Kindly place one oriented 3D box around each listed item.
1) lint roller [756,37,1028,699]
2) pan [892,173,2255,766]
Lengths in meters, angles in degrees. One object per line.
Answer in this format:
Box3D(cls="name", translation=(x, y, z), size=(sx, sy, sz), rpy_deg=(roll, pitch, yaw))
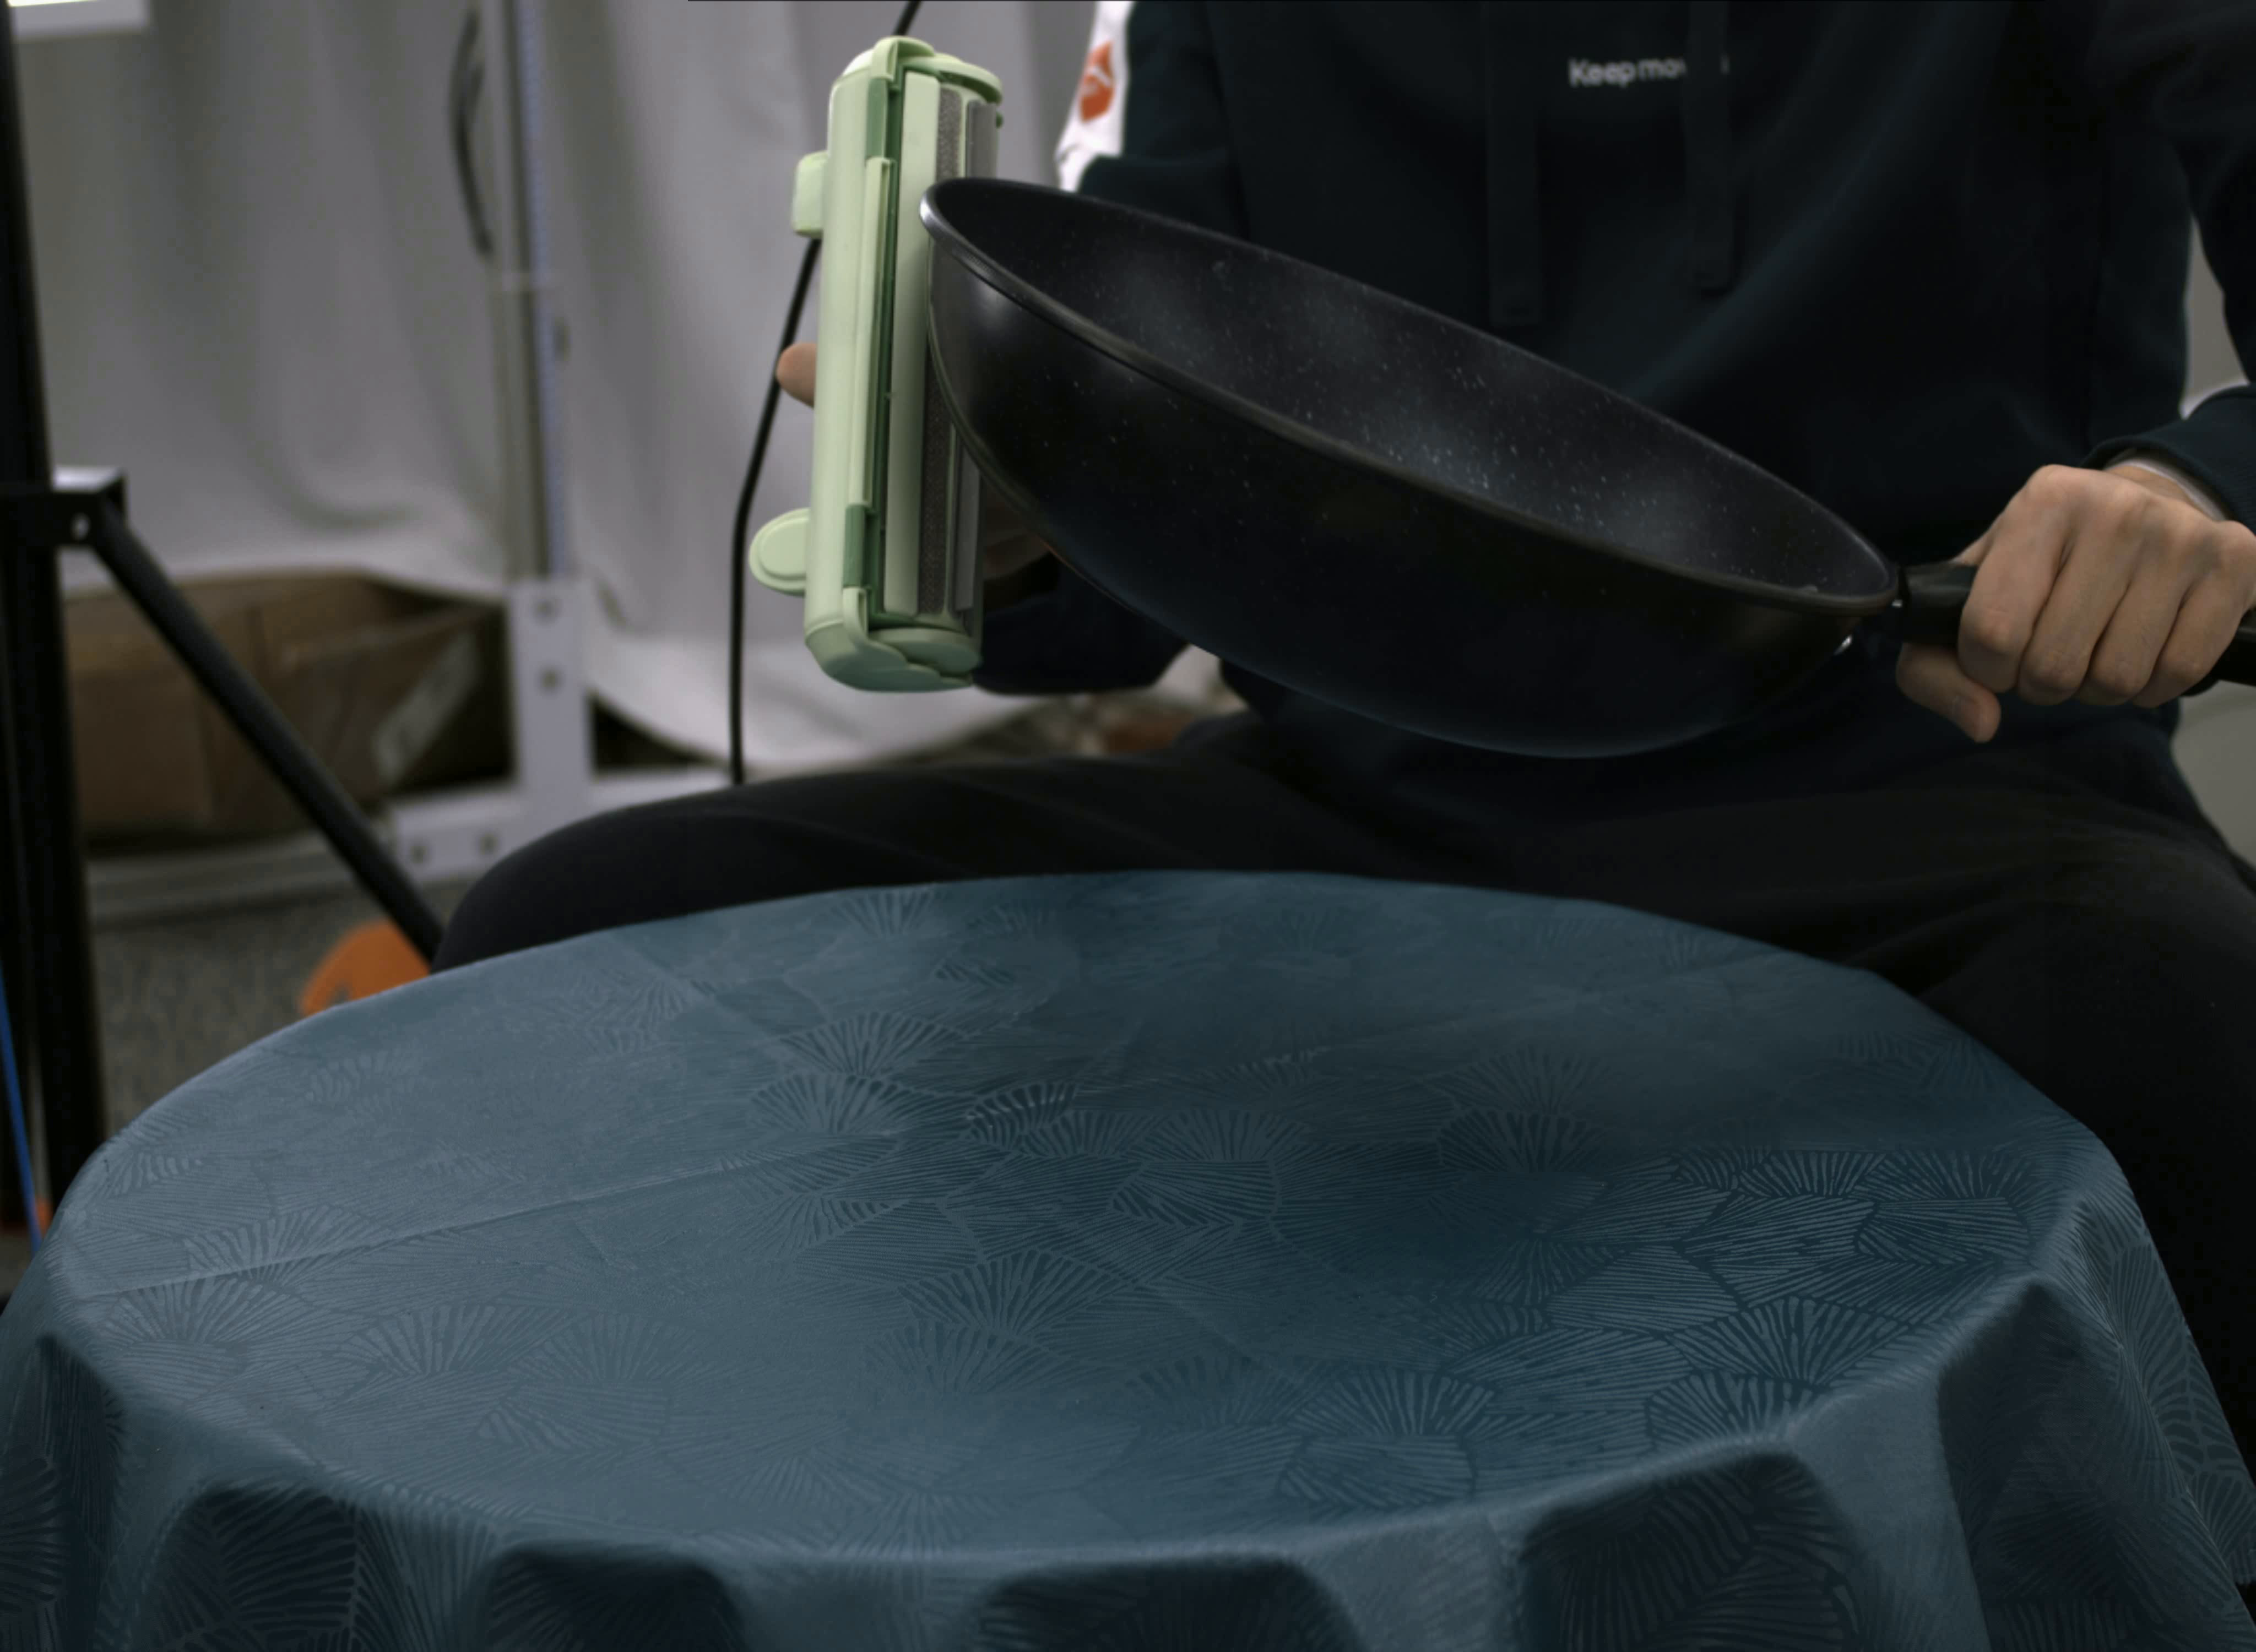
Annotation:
Box3D(cls="lint roller", translation=(-0.073, -0.126, 1.689), size=(0.082, 0.200, 0.182), rpy_deg=(1, -14, 1))
Box3D(cls="pan", translation=(0.143, -0.076, 1.575), size=(0.471, 0.112, 0.313), rpy_deg=(19, 15, -9))
